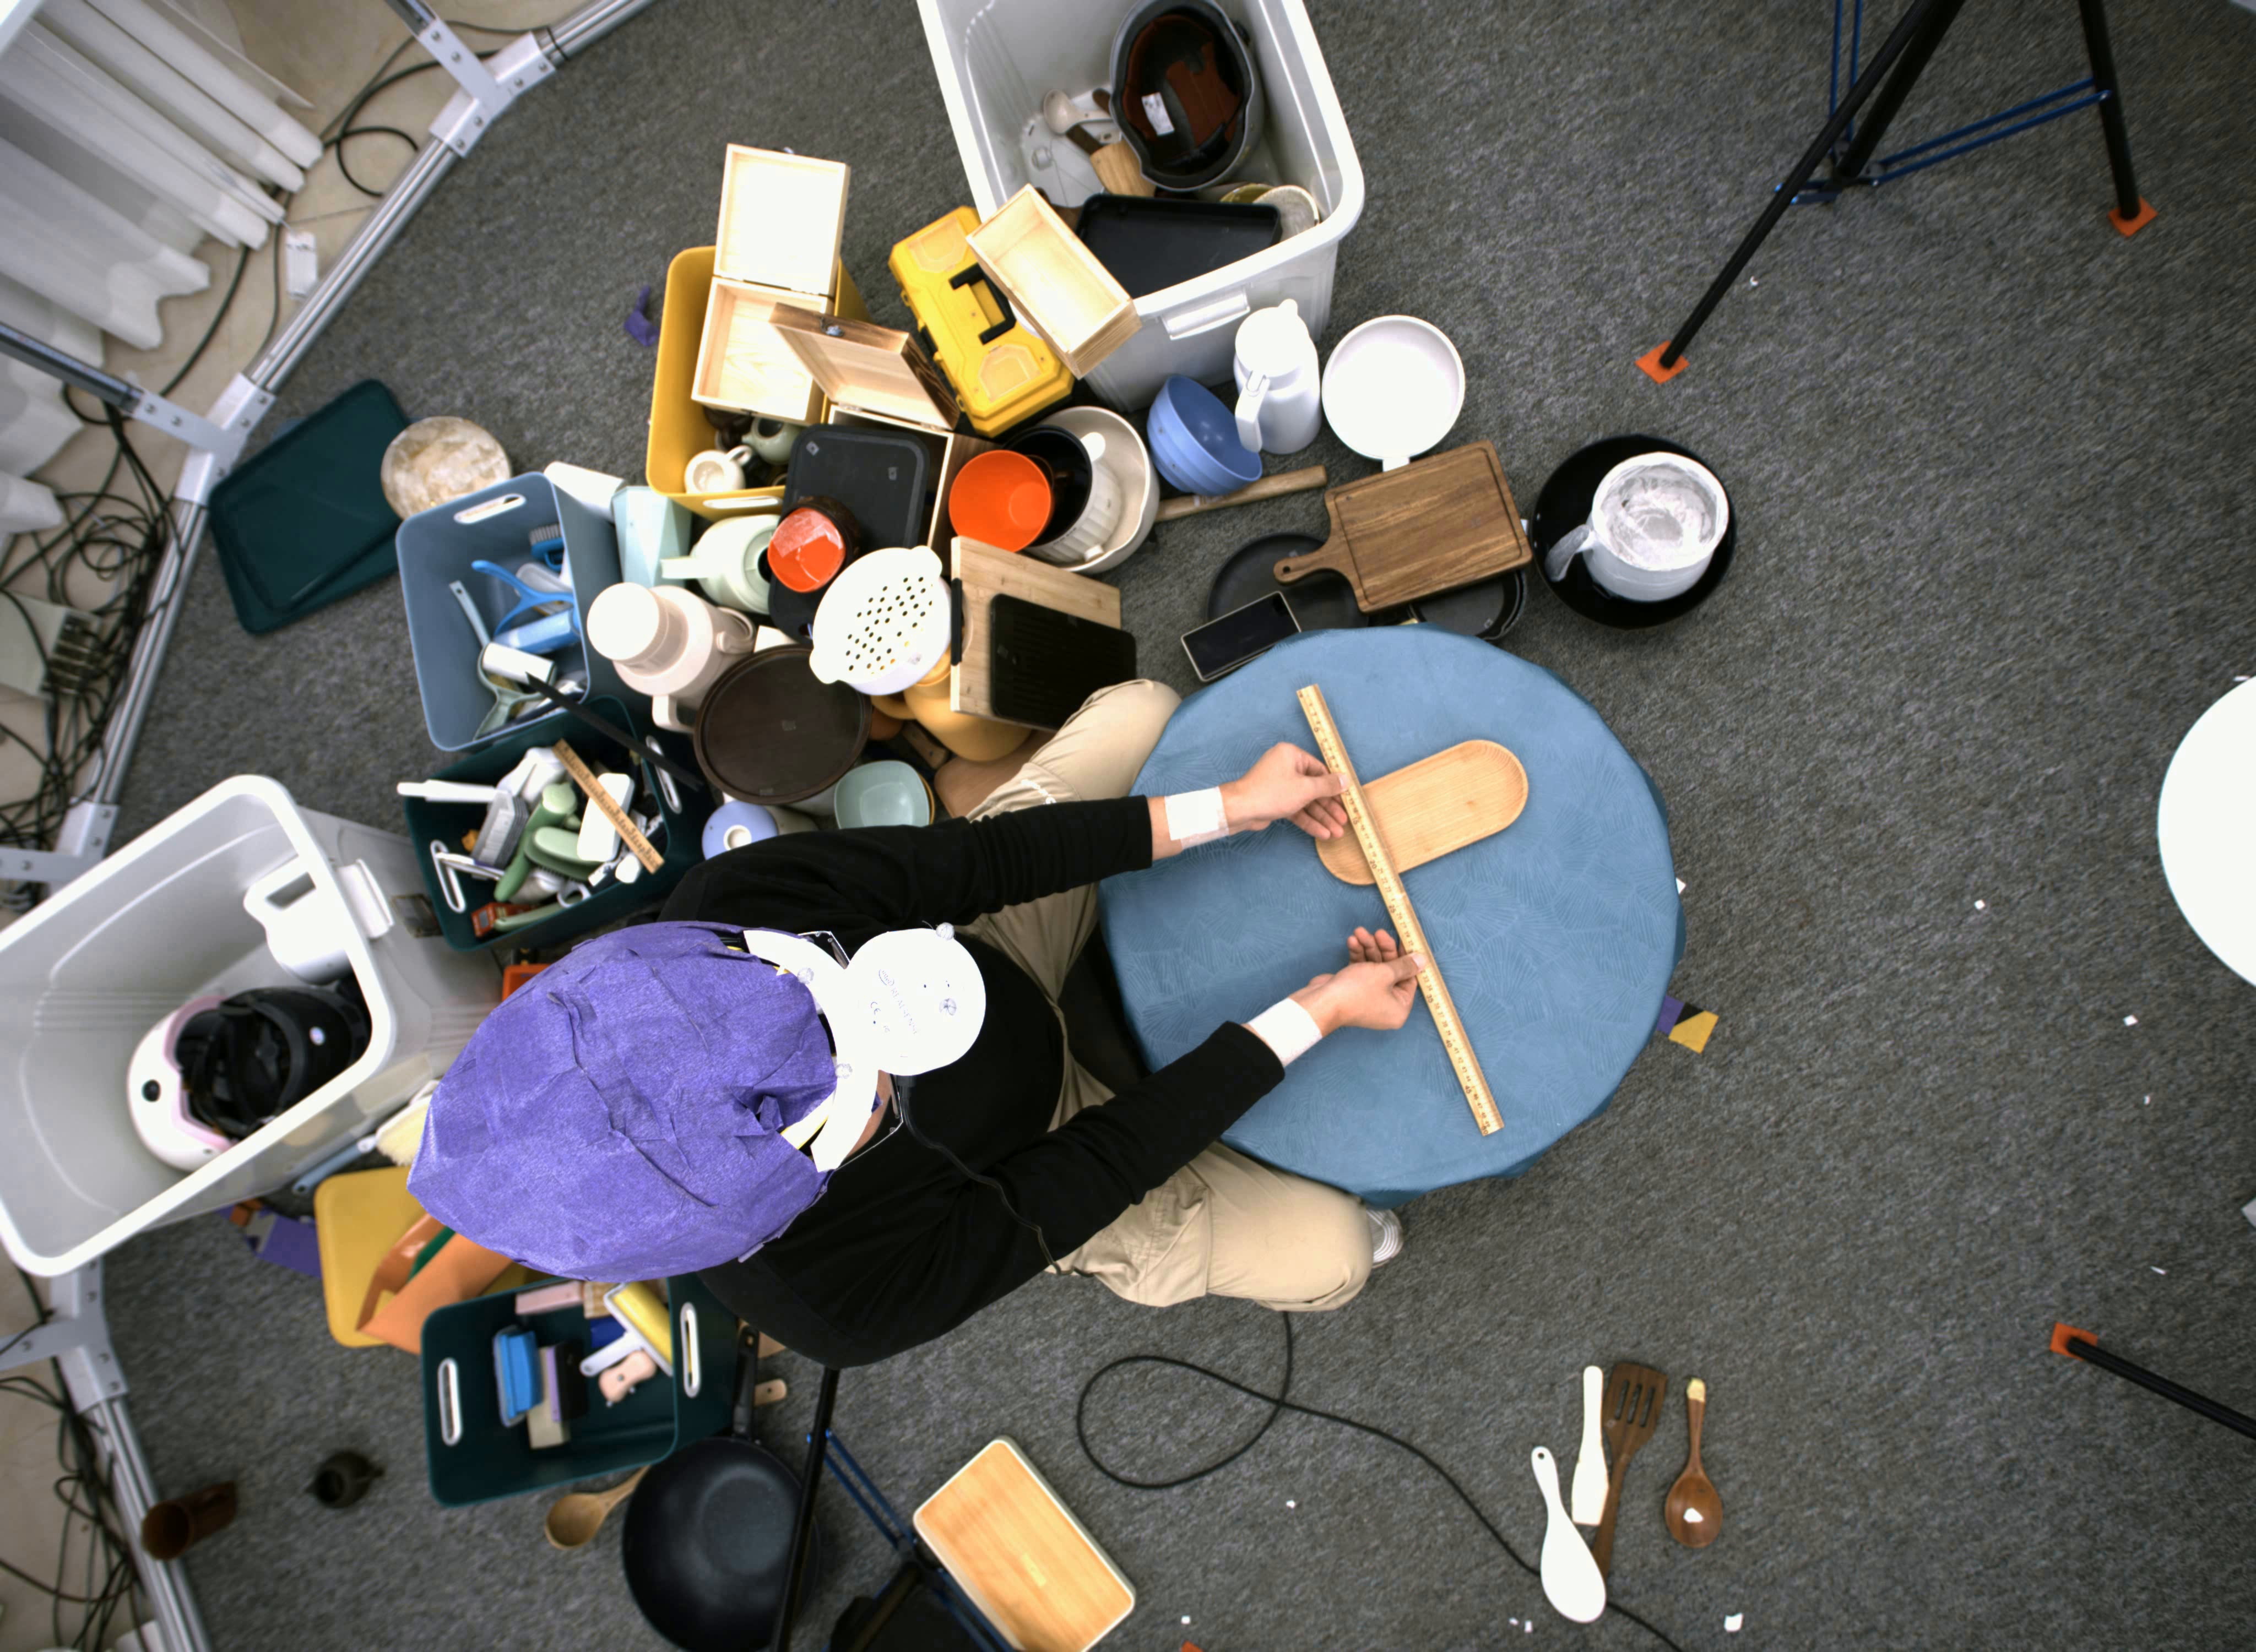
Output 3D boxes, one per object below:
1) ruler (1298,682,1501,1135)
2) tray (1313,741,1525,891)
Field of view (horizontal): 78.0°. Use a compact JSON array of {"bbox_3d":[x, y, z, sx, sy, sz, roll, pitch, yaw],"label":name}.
[{"bbox_3d":[0.281,0.082,1.439,0.027,0.006,0.498,-21,86,-5],"label":"ruler"},{"bbox_3d":[0.305,-0.011,1.450,0.233,0.020,0.101,-26,81,10],"label":"tray"}]
